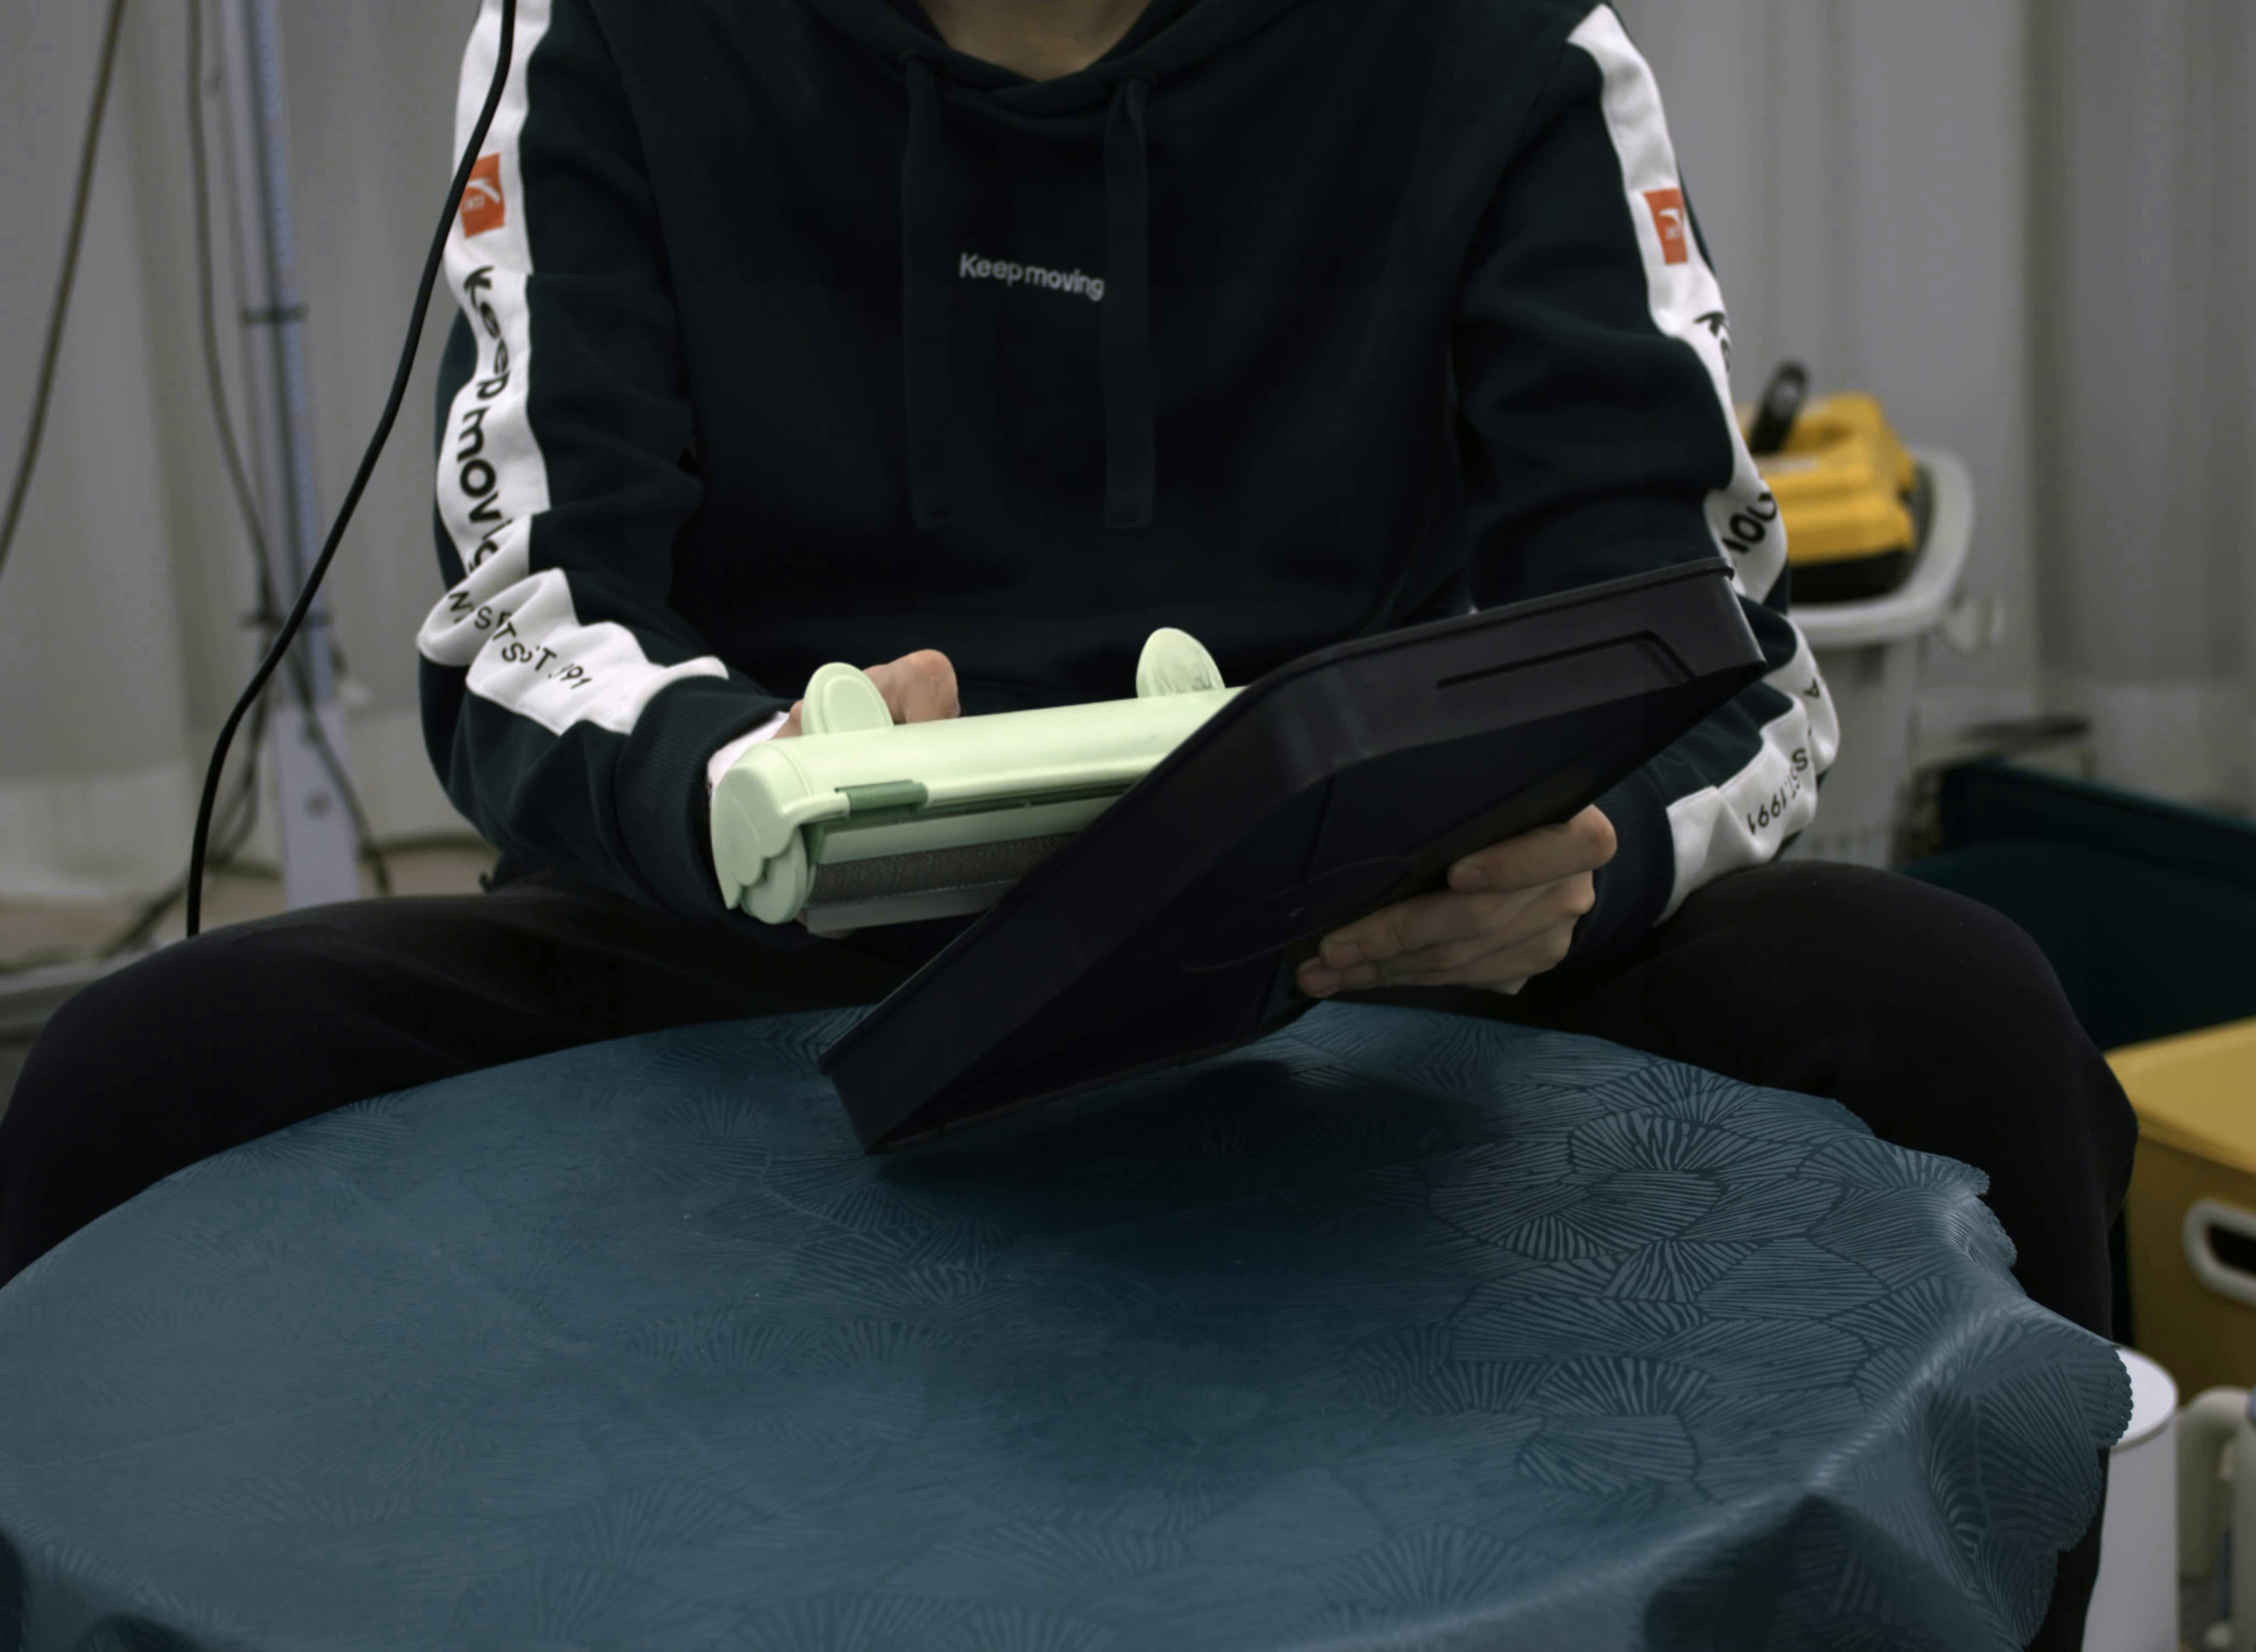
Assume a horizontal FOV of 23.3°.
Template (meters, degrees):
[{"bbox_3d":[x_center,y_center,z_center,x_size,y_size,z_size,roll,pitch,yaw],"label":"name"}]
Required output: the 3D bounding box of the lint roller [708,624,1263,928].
[{"bbox_3d":[-0.058,-0.017,1.689,0.197,0.082,0.184,-8,8,-30],"label":"lint roller"}]

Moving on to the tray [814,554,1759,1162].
[{"bbox_3d":[0.044,0.014,1.678,0.184,0.037,0.316,-15,-16,-35],"label":"tray"}]
